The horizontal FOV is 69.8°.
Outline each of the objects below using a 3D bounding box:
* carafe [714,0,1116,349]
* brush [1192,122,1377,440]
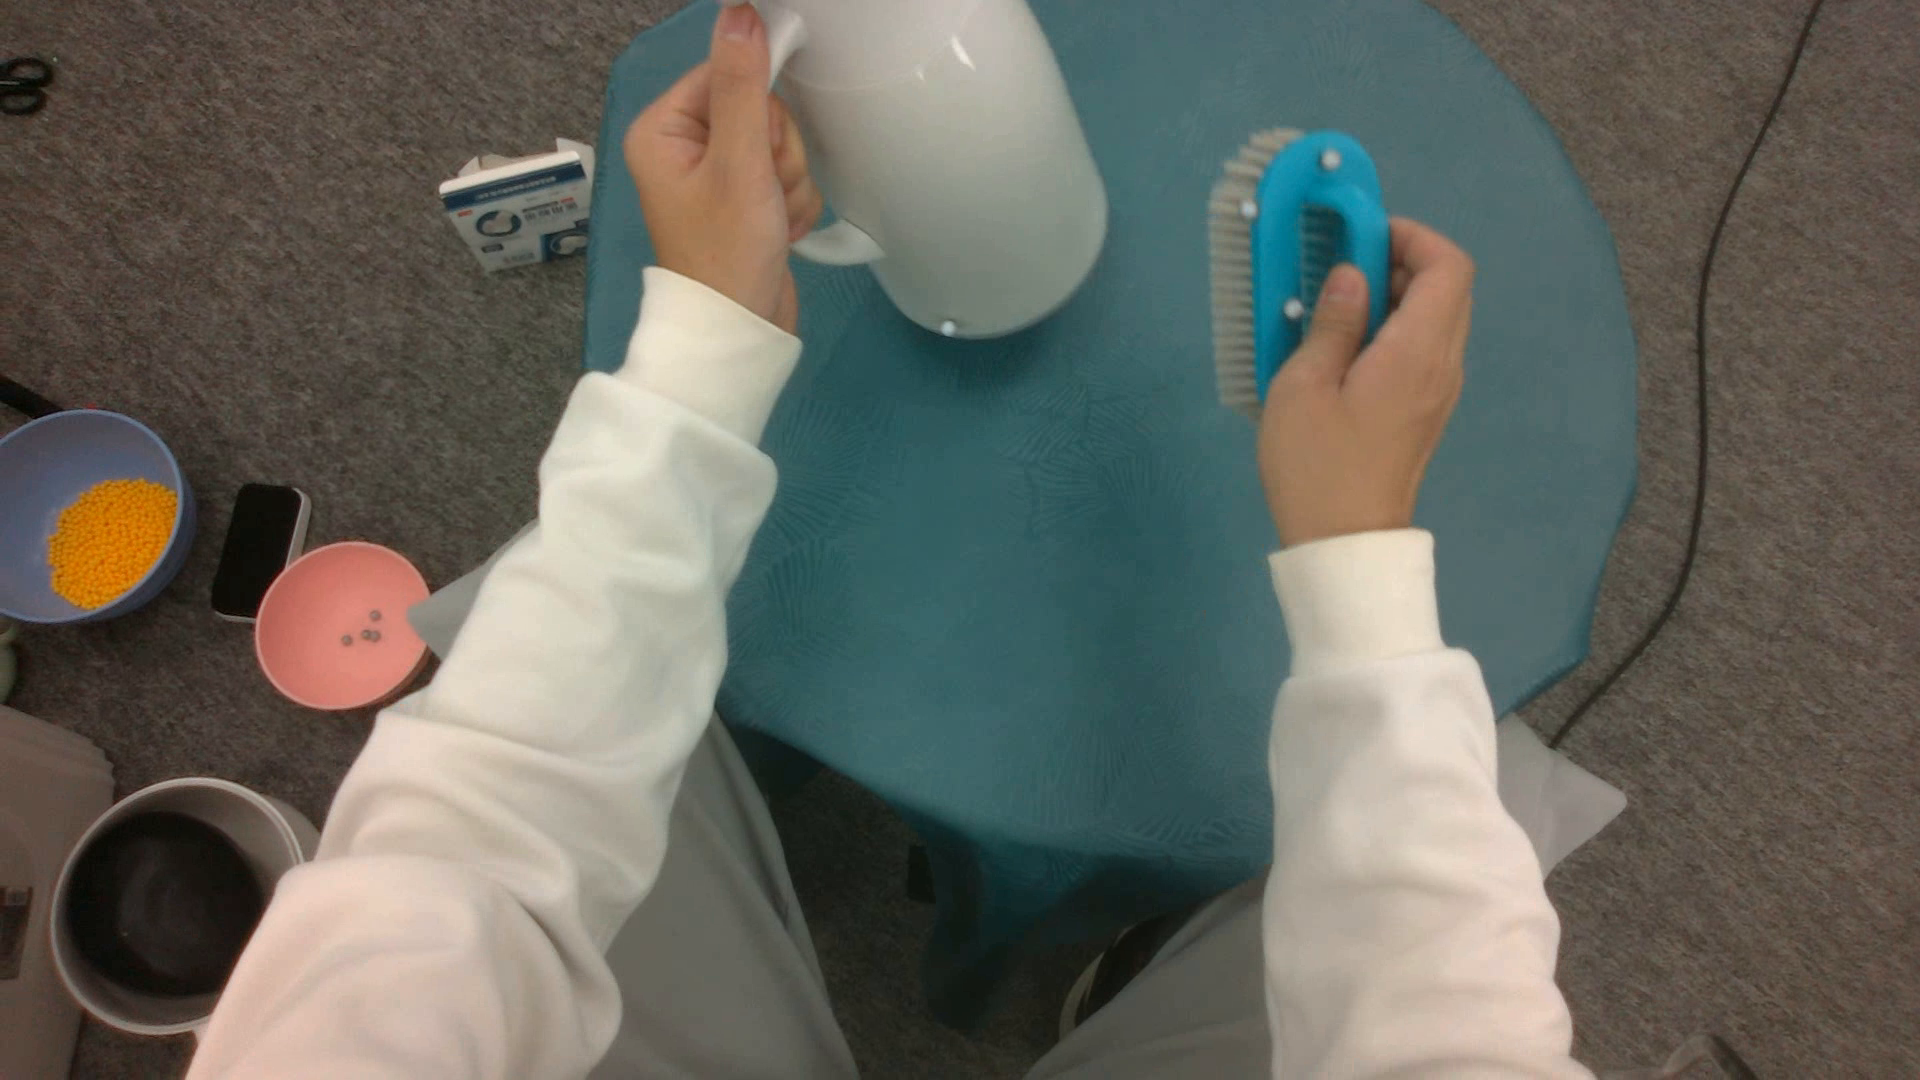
[{"bbox_3d":[-0.028,-0.190,0.650,0.132,0.248,0.168,33,84,28],"label":"carafe"},{"bbox_3d":[0.153,-0.113,0.612,0.084,0.063,0.141,-18,113,-35],"label":"brush"}]
